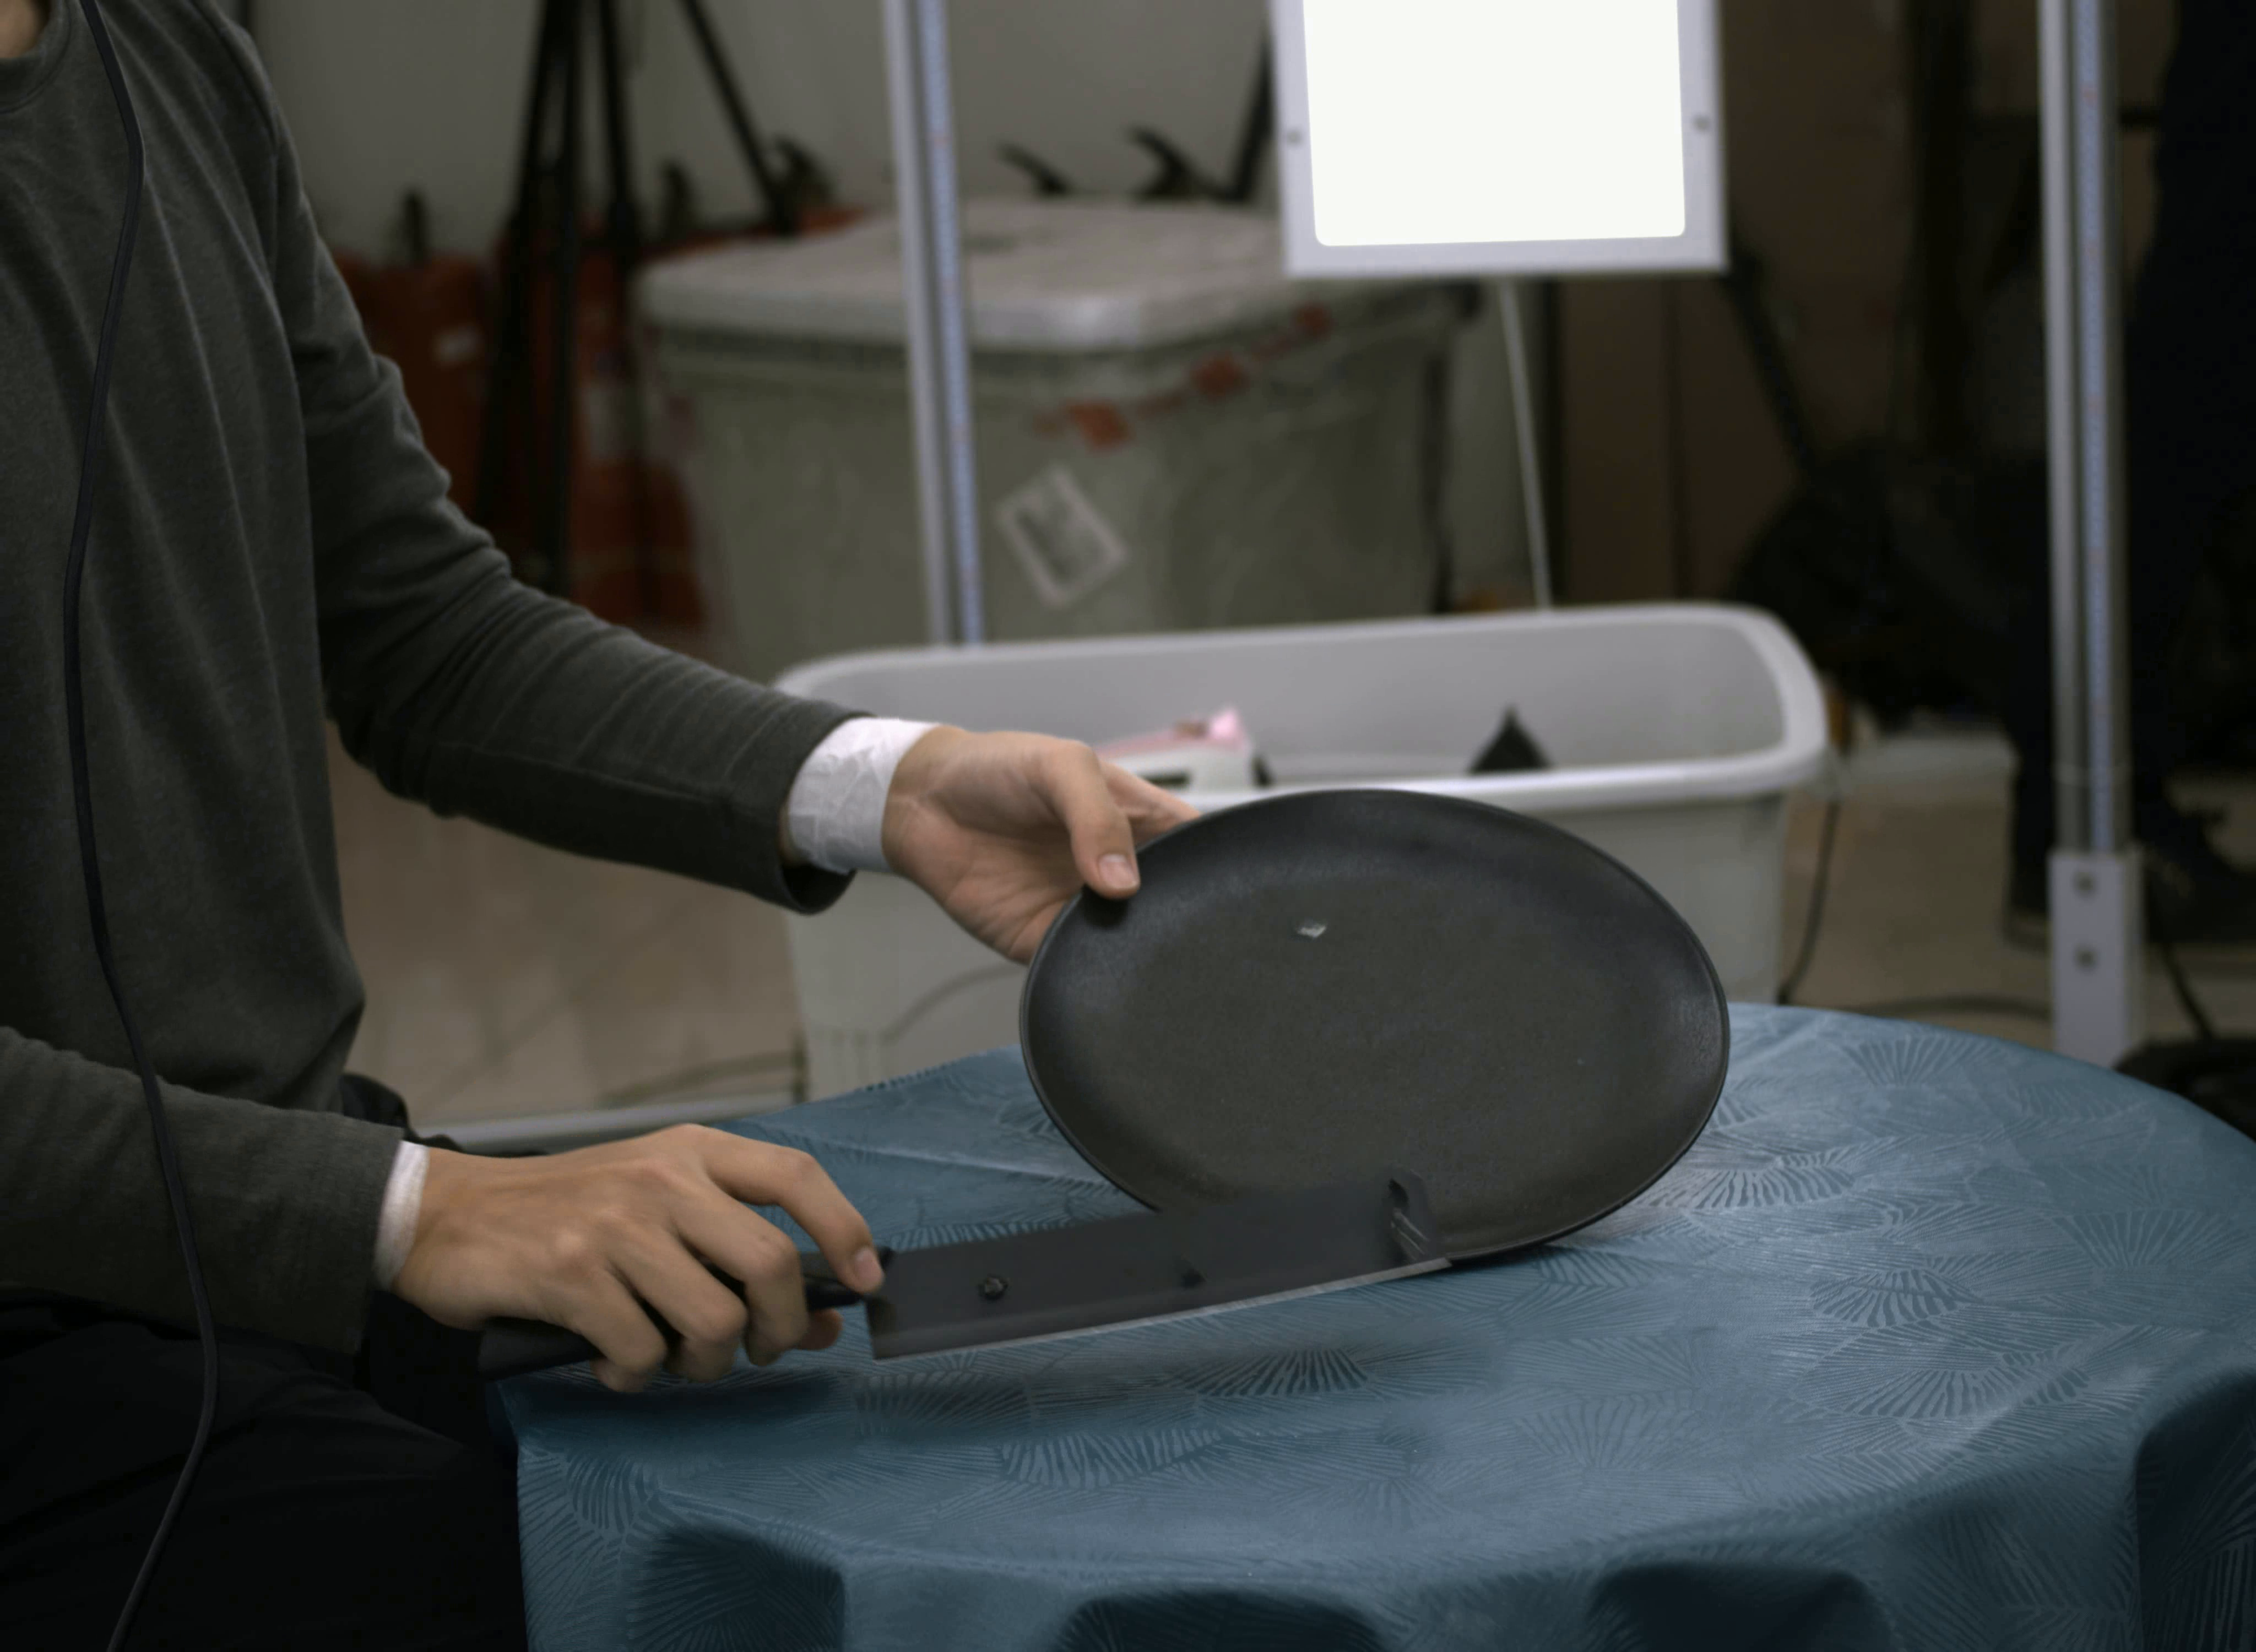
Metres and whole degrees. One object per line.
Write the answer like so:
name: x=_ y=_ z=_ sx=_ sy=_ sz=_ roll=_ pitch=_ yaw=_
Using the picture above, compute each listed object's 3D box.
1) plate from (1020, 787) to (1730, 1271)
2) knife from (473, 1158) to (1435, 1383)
plate: x=0.084 y=0.072 z=1.883 sx=0.243 sy=0.023 sz=0.244 roll=-1 pitch=41 yaw=0
knife: x=-0.055 y=0.142 z=1.719 sx=0.302 sy=0.021 sz=0.081 roll=-8 pitch=25 yaw=3
